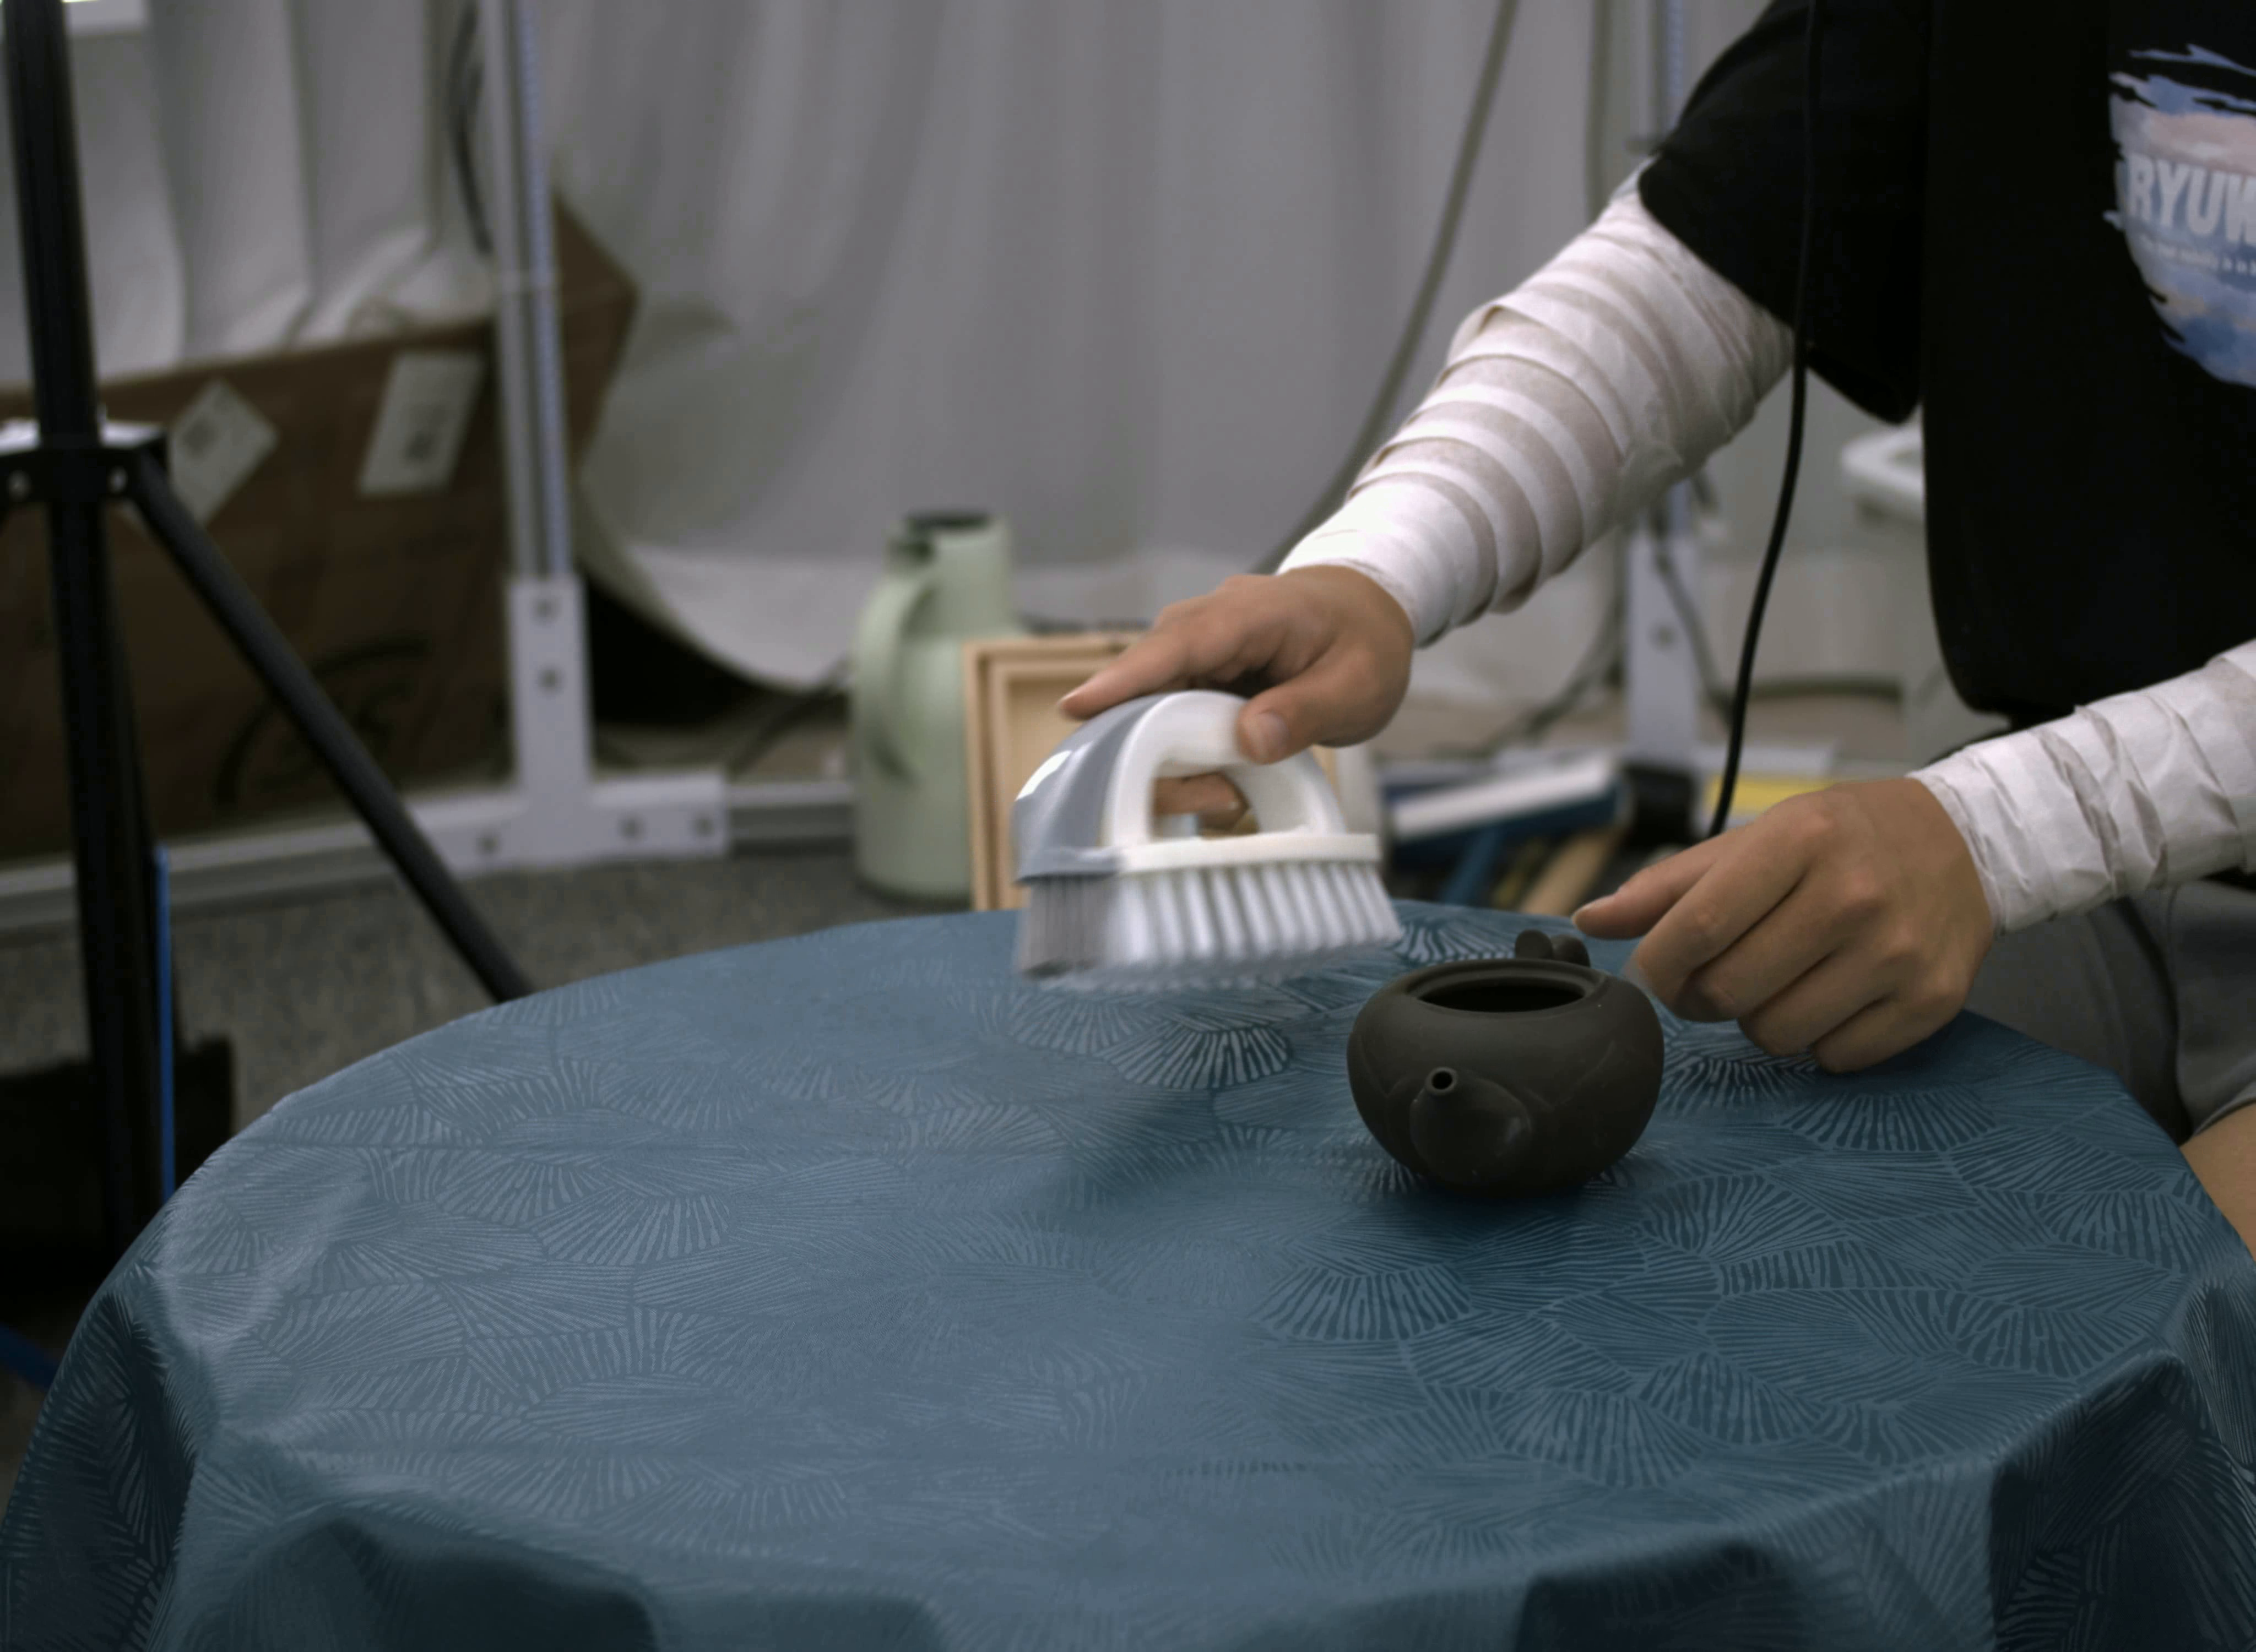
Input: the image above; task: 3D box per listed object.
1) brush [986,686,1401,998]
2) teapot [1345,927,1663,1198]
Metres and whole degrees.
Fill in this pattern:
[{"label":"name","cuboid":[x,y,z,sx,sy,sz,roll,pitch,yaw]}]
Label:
[{"label":"brush","cuboid":[0.009,0.003,1.639,0.062,0.095,0.171,-21,-10,37]},{"label":"teapot","cuboid":[0.112,0.071,1.556,0.093,0.064,0.152,4,18,20]}]
